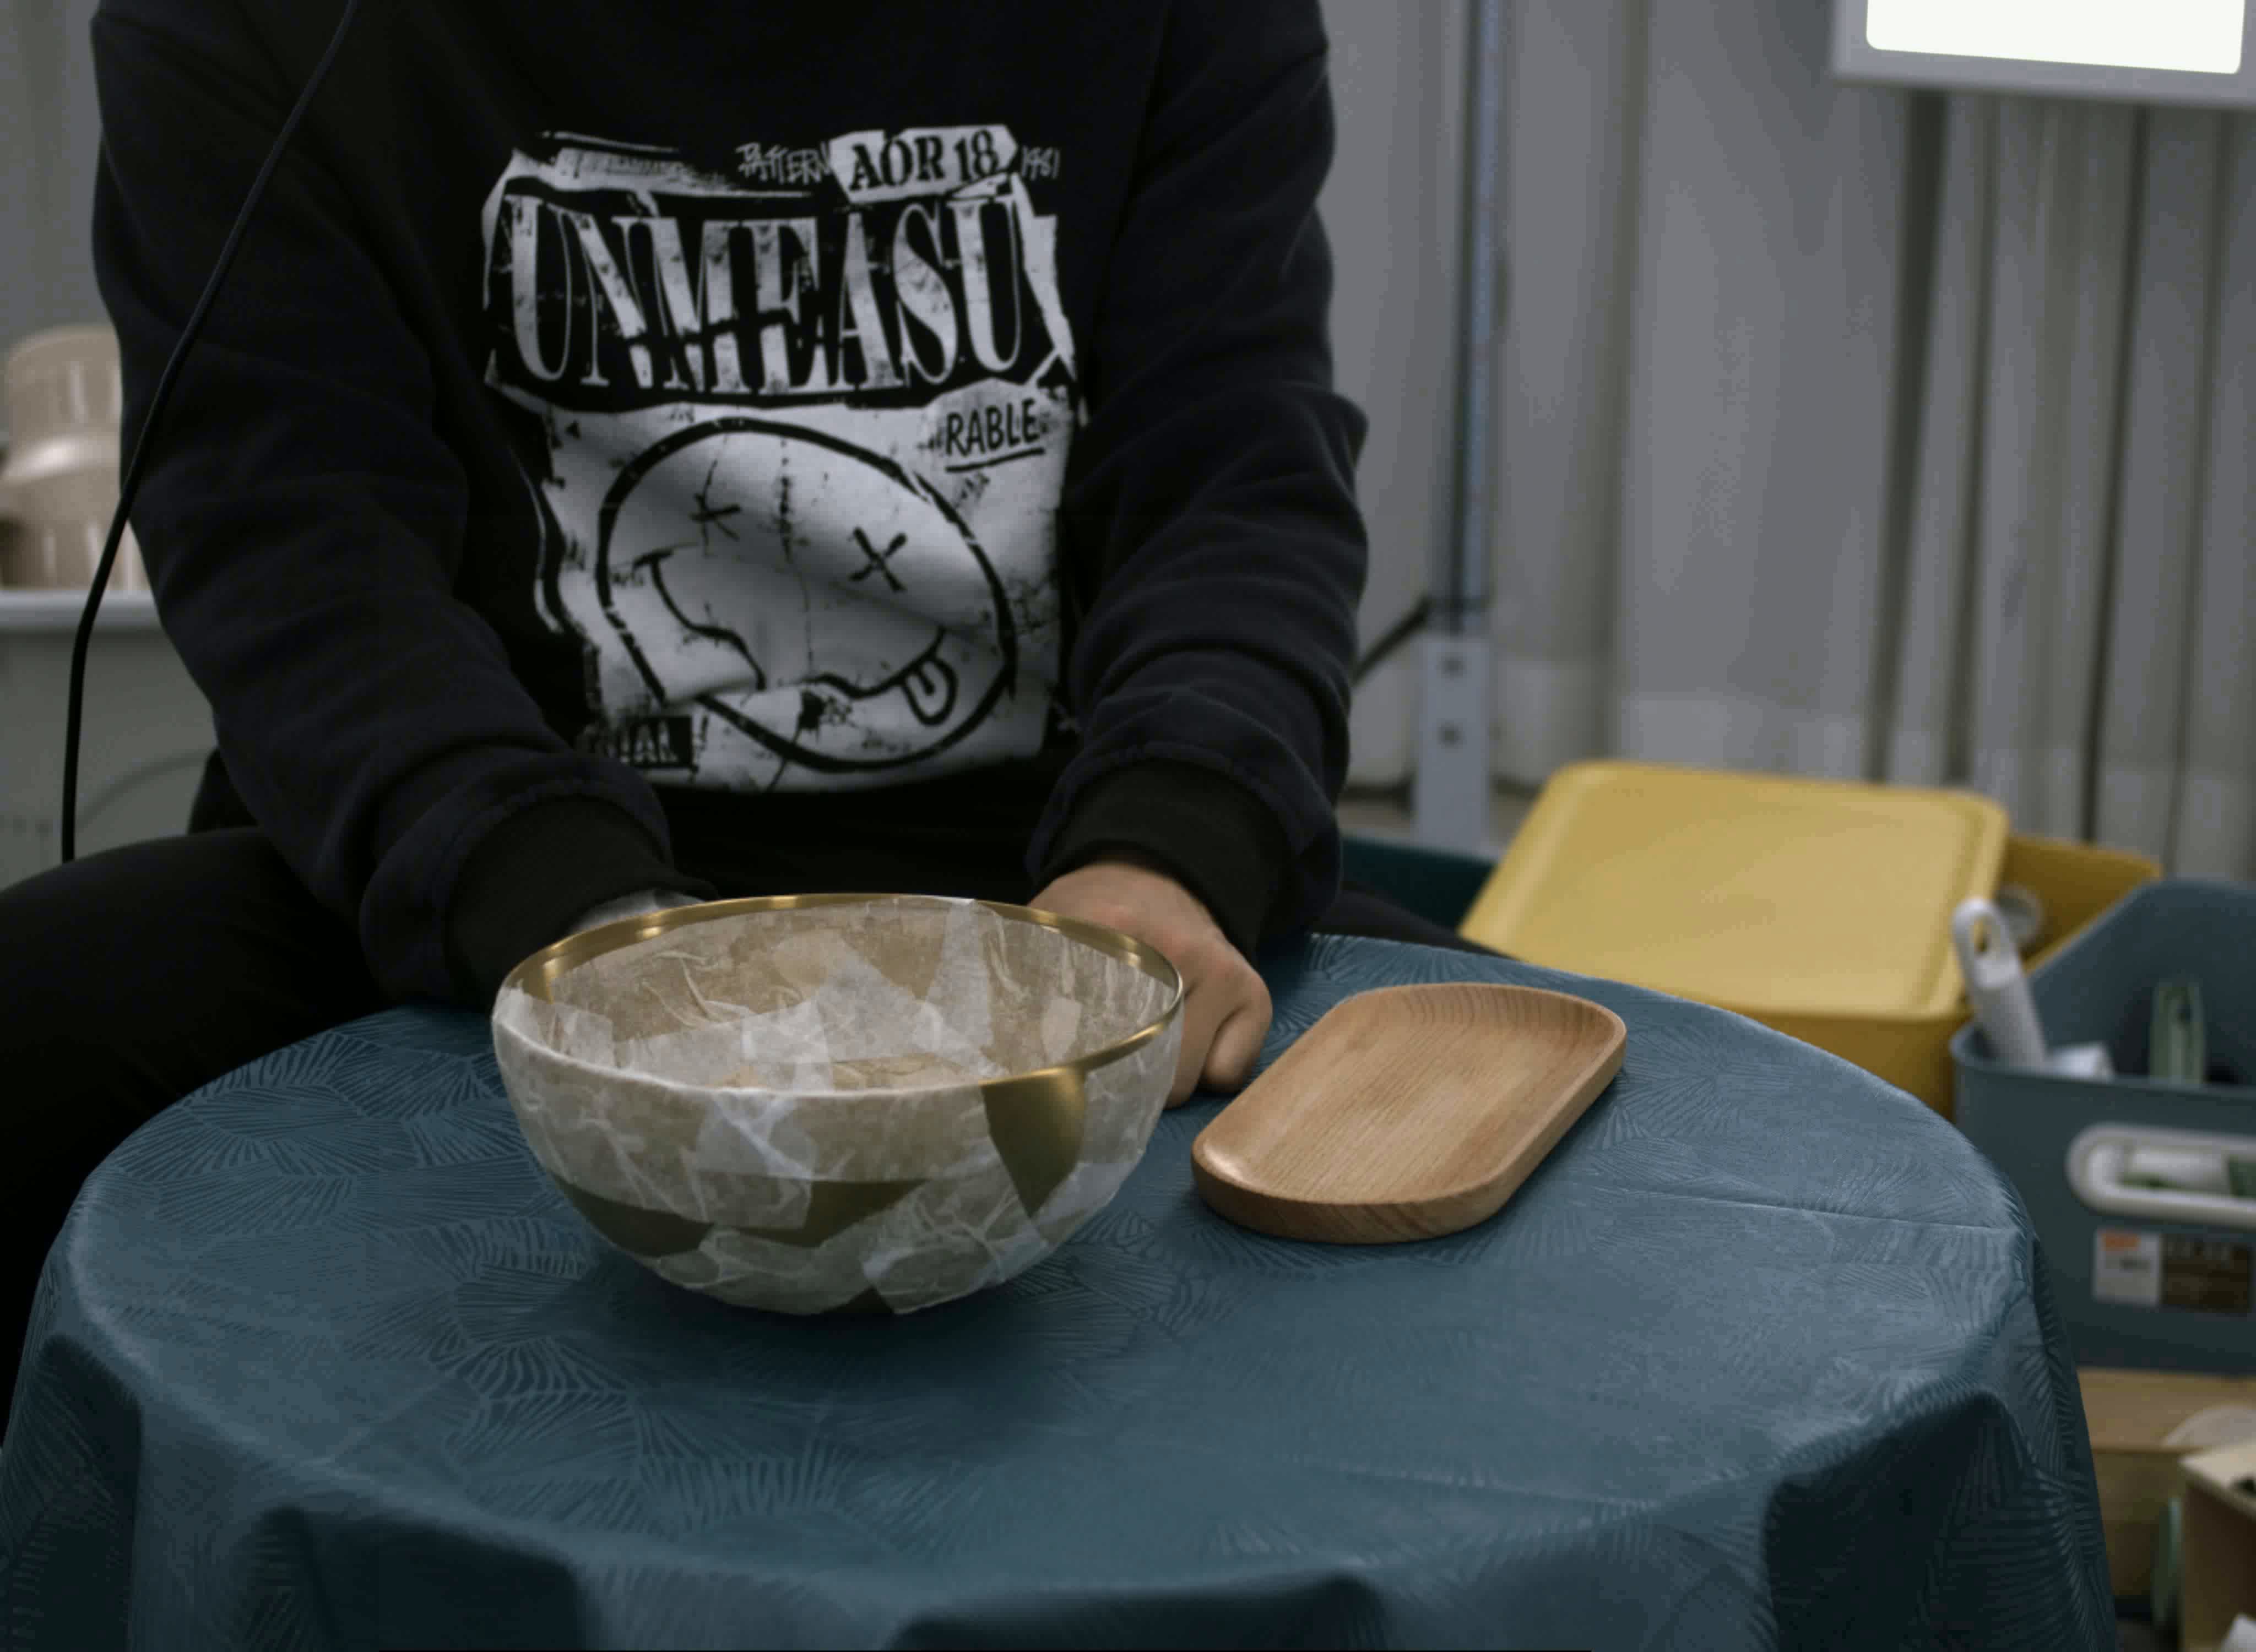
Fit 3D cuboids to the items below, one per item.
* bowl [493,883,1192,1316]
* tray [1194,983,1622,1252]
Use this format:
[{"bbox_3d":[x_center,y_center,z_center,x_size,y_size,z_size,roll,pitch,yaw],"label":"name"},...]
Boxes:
[{"bbox_3d":[-0.079,0.087,1.539,0.214,0.095,0.213,-1,16,1],"label":"bowl"},{"bbox_3d":[0.092,0.091,1.679,0.101,0.020,0.231,4,18,18],"label":"tray"}]
